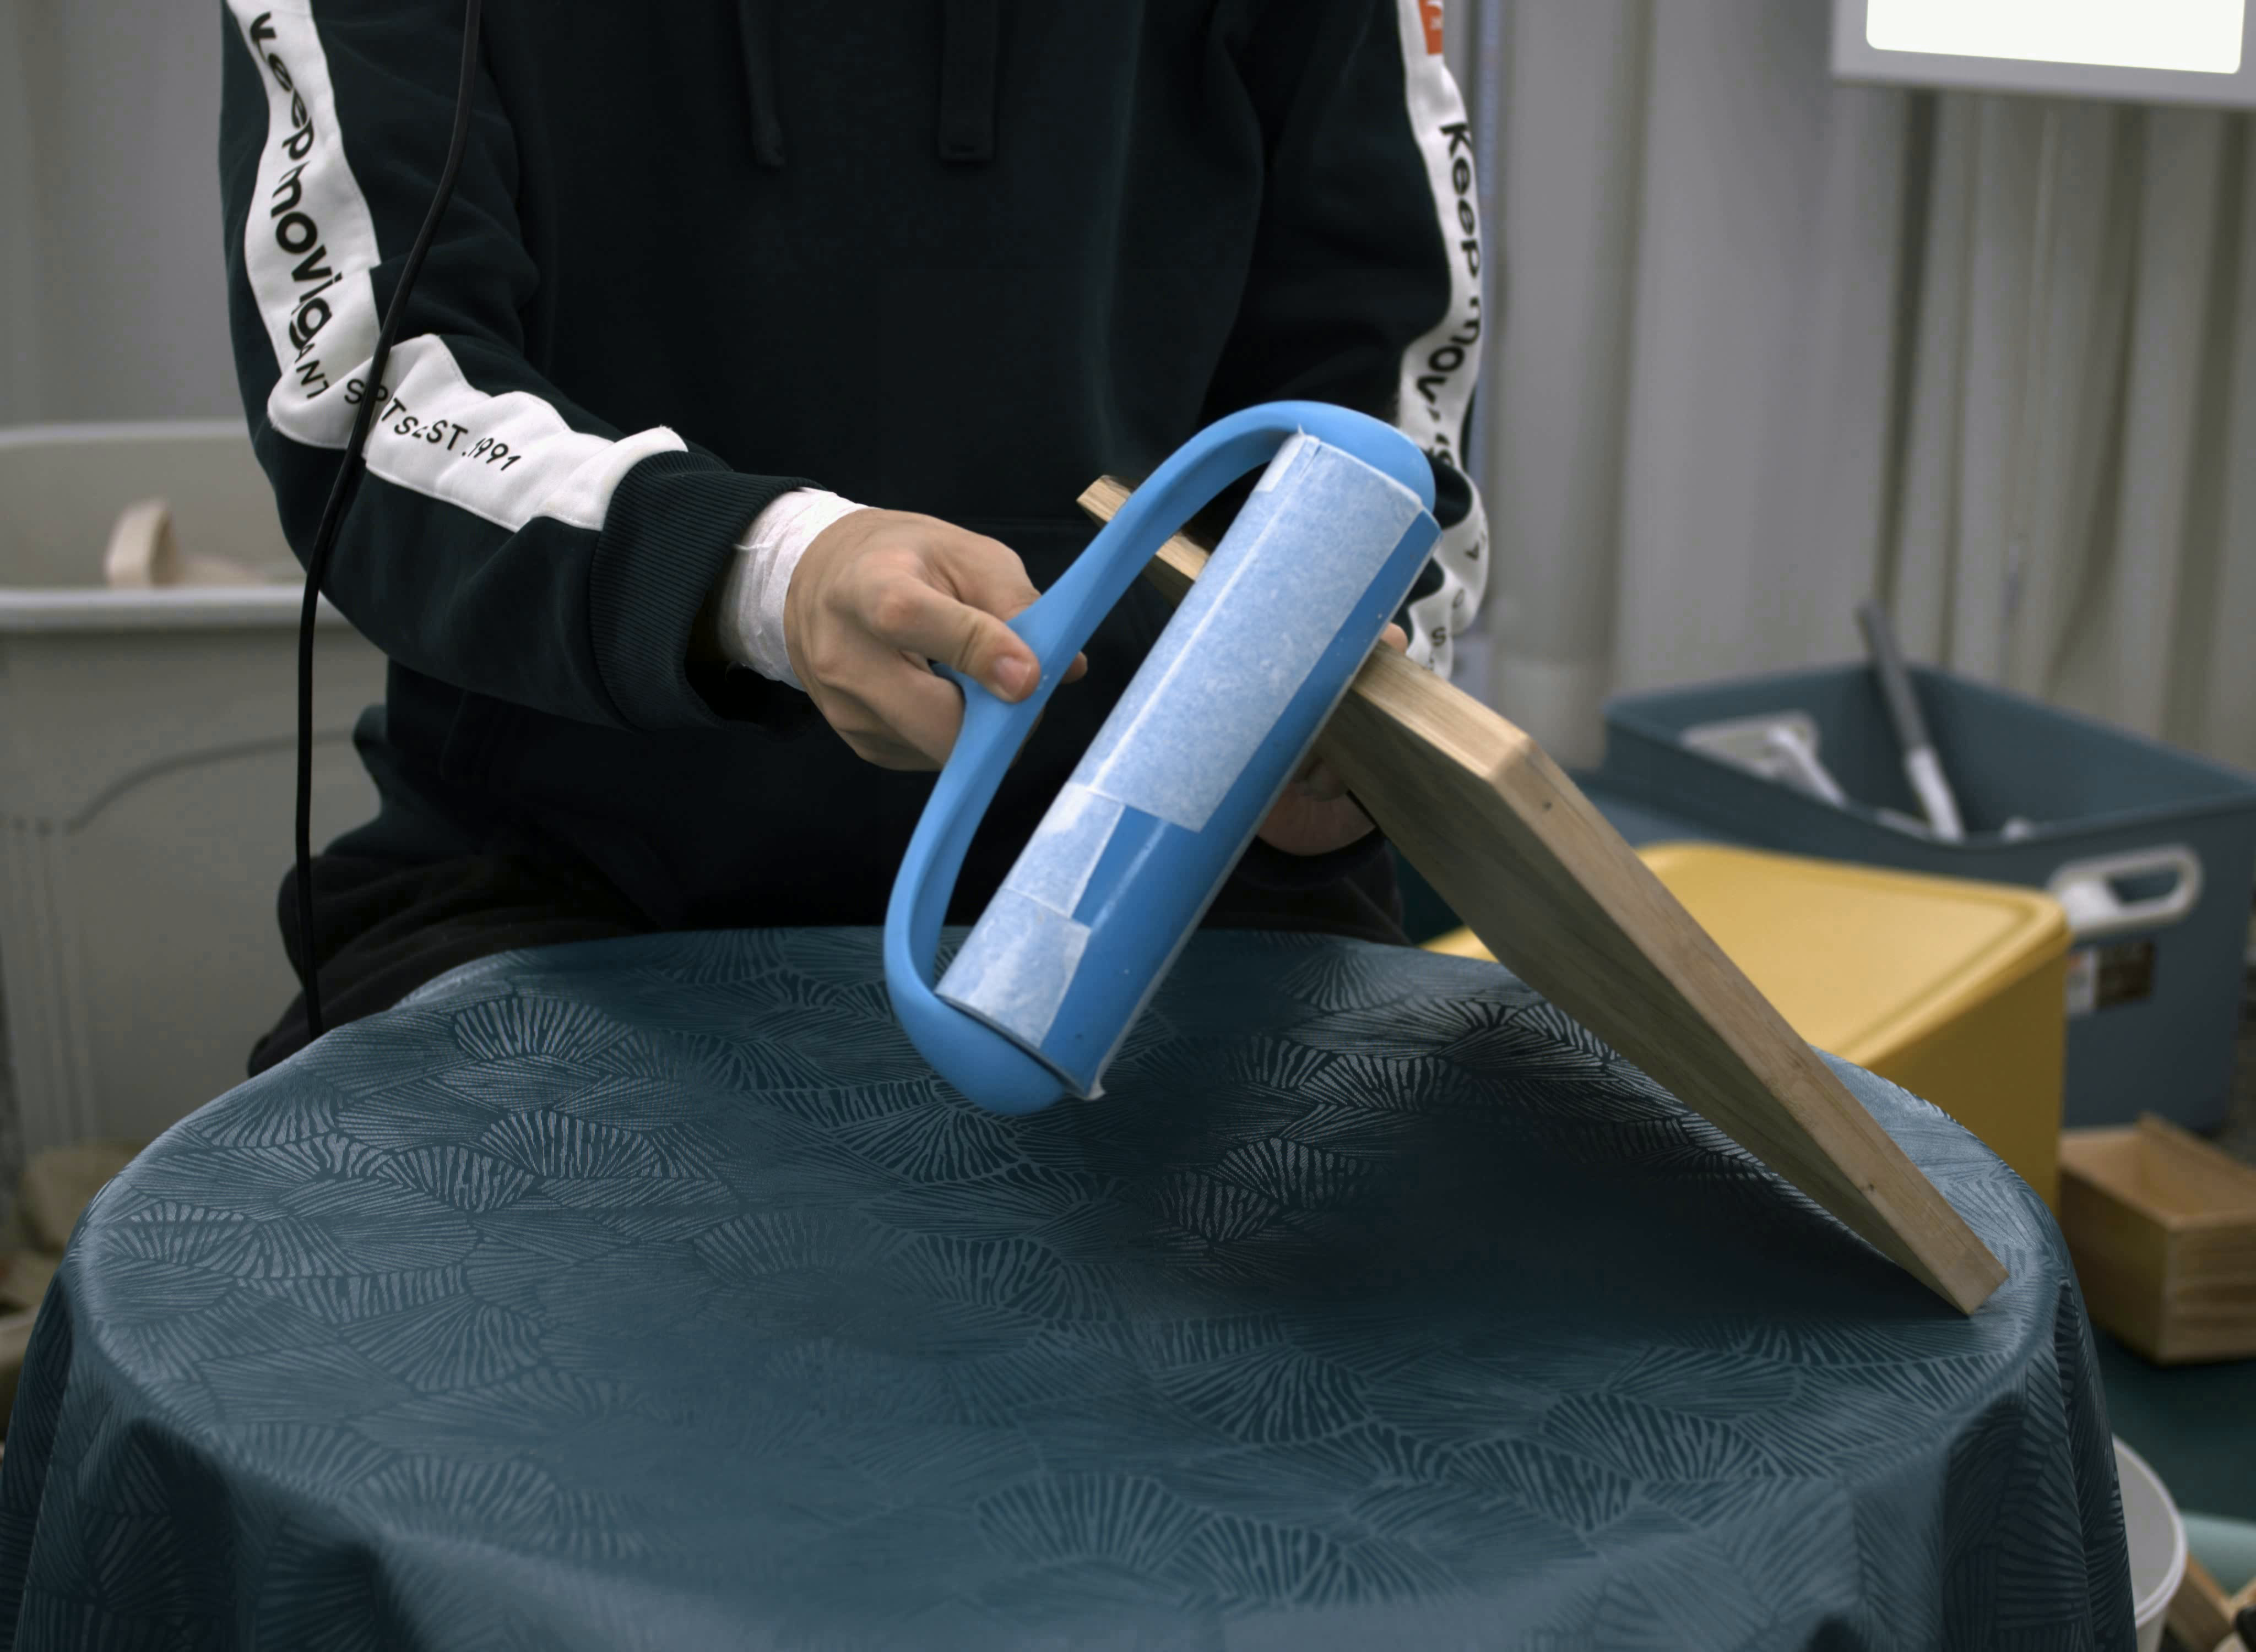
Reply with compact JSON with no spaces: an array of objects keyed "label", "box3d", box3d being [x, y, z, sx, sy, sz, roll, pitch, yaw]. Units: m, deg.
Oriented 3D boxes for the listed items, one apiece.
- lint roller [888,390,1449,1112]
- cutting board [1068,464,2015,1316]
[{"label":"lint roller","box3d":[-0.019,-0.032,1.529,0.178,0.229,0.069,18,-15,49]},{"label":"cutting board","box3d":[0.117,0.011,1.621,0.023,0.253,0.344,-45,27,-3]}]
